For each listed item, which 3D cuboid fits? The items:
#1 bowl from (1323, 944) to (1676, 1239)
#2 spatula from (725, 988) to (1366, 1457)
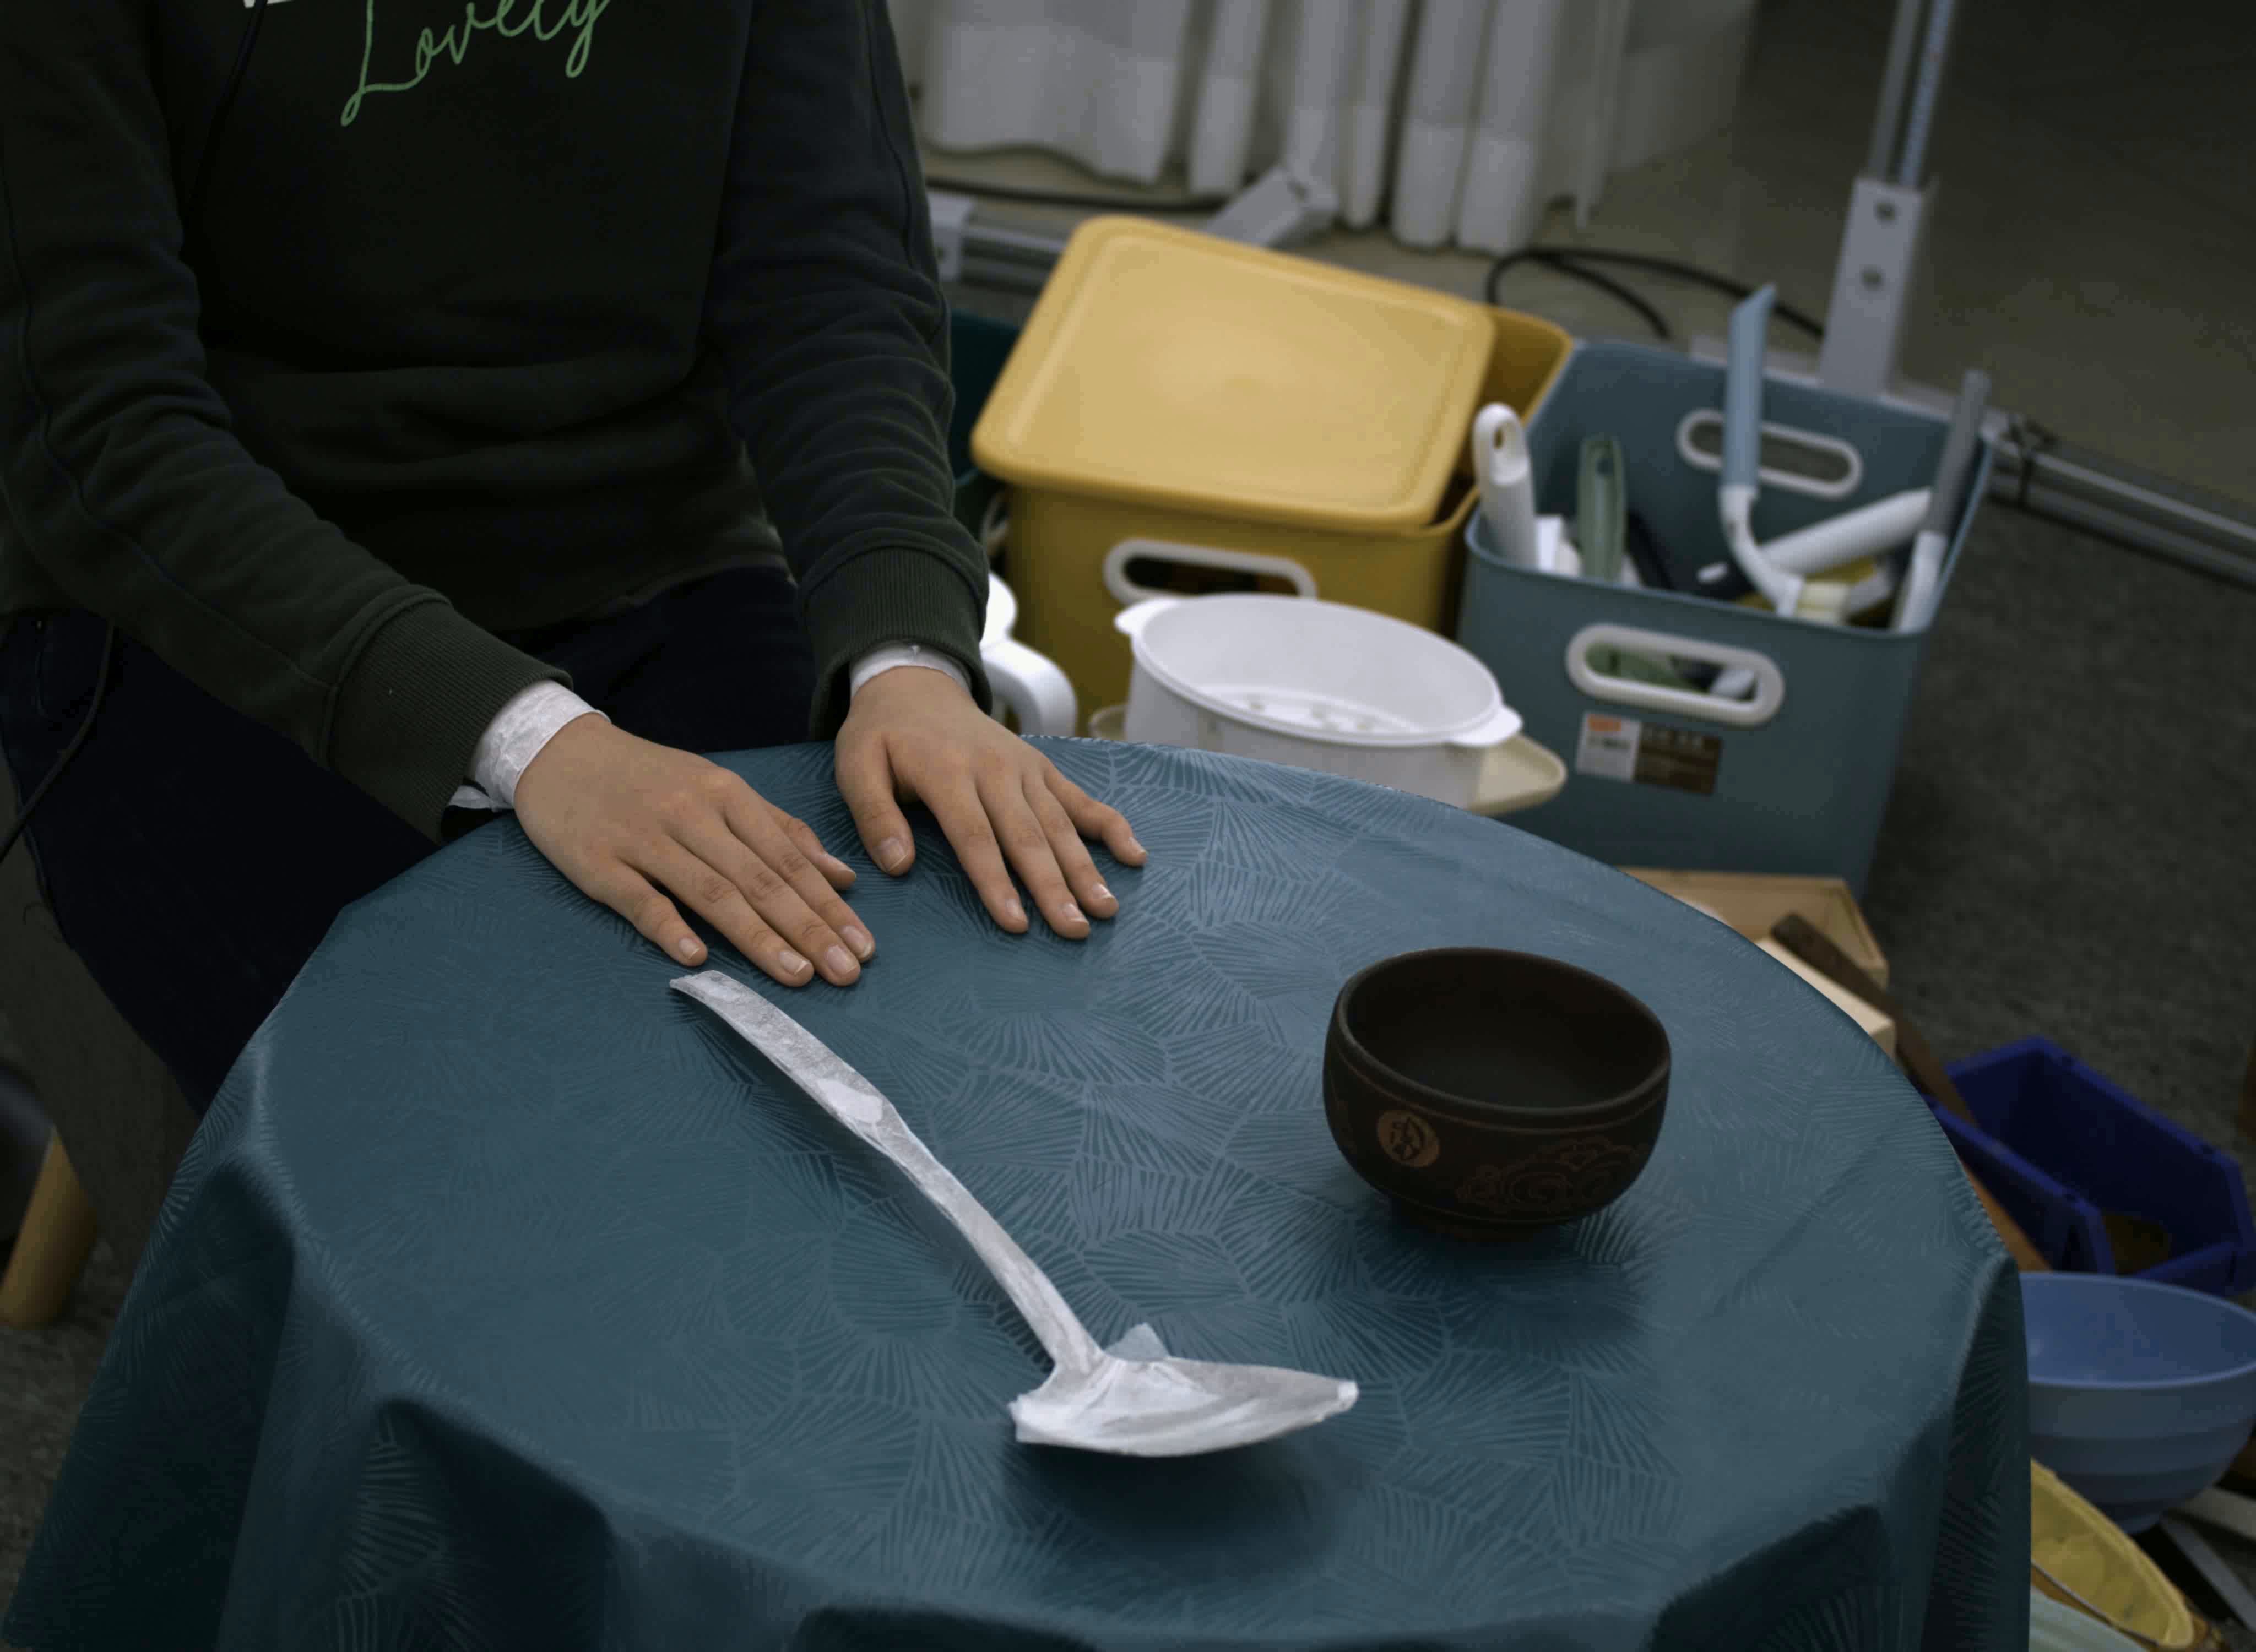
[{"bbox_3d":[0.123,0.096,1.802,0.117,0.069,0.119,6,25,-3],"label":"bowl"},{"bbox_3d":[-0.051,0.122,1.749,0.098,0.044,0.368,-12,32,-28],"label":"spatula"}]
